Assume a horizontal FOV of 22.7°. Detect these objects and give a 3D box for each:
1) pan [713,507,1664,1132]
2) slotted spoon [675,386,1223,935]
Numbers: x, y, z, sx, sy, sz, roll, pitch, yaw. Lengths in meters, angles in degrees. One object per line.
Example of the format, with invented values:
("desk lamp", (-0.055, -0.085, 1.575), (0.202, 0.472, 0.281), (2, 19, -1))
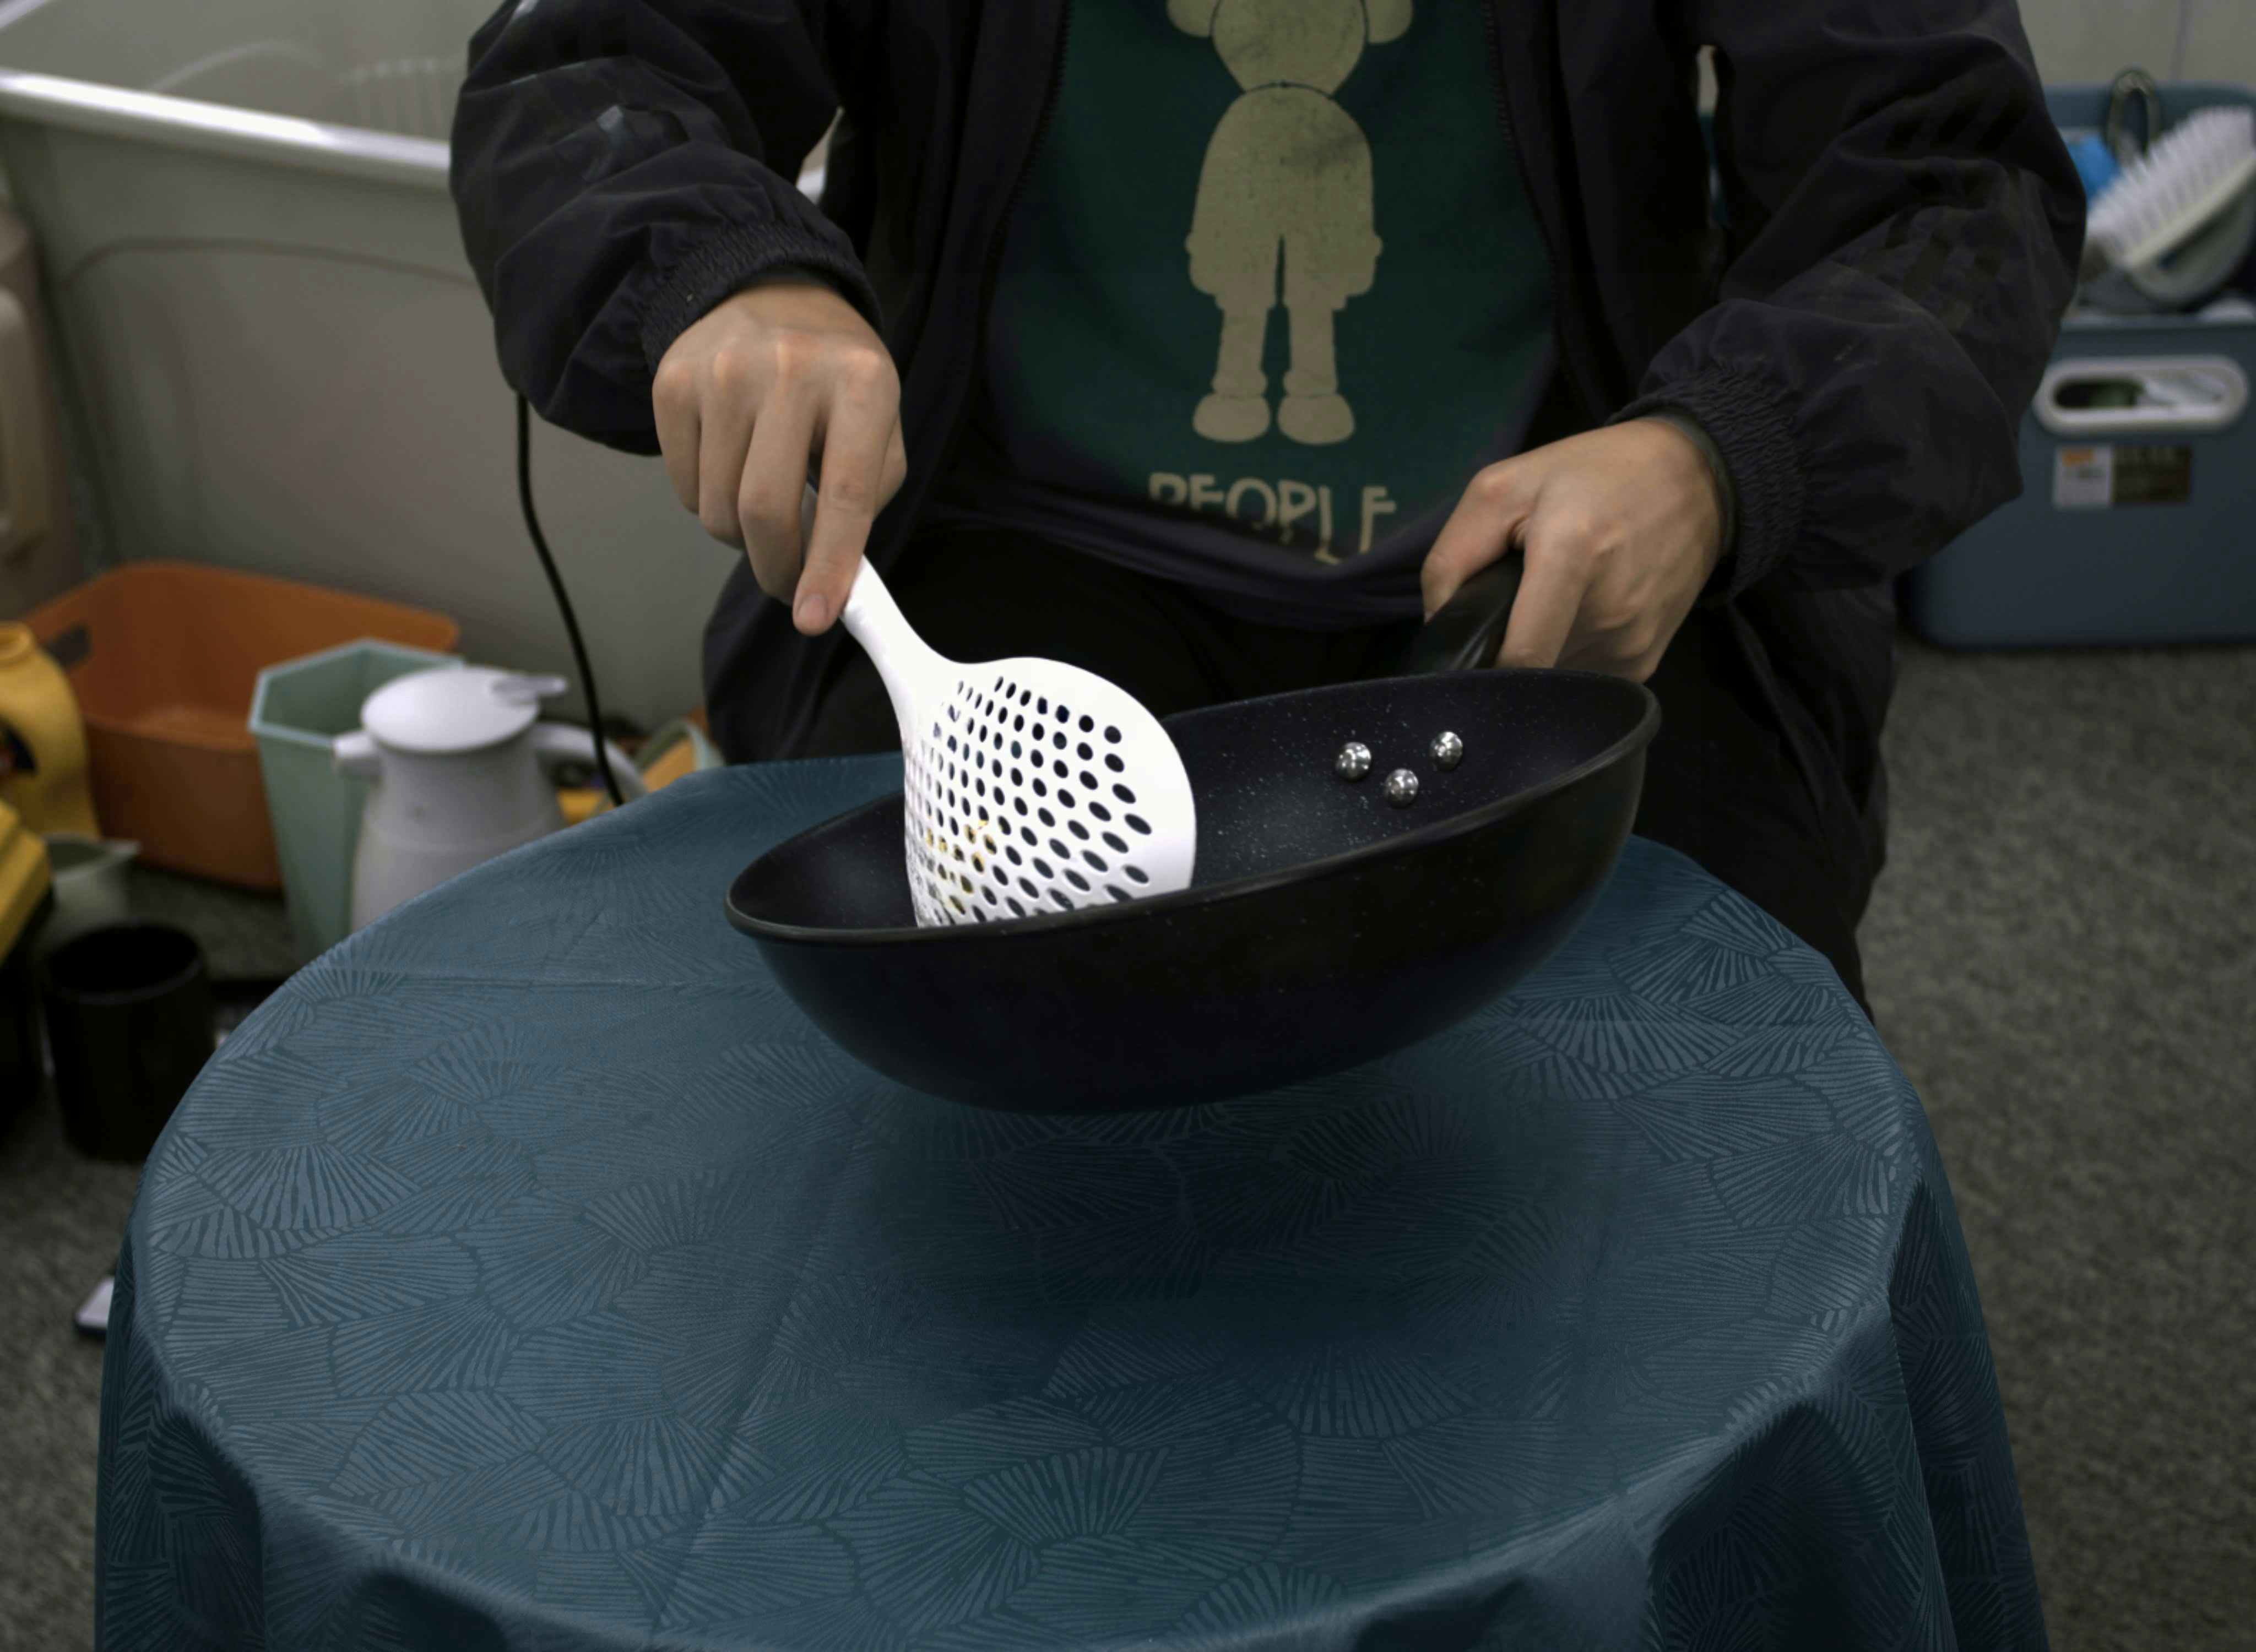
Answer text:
("pan", (0.064, 0.000, 1.877), (0.307, 0.111, 0.483), (-4, 13, 30))
("slotted spoon", (-0.073, -0.043, 1.863), (0.050, 0.135, 0.351), (11, 28, -33))
